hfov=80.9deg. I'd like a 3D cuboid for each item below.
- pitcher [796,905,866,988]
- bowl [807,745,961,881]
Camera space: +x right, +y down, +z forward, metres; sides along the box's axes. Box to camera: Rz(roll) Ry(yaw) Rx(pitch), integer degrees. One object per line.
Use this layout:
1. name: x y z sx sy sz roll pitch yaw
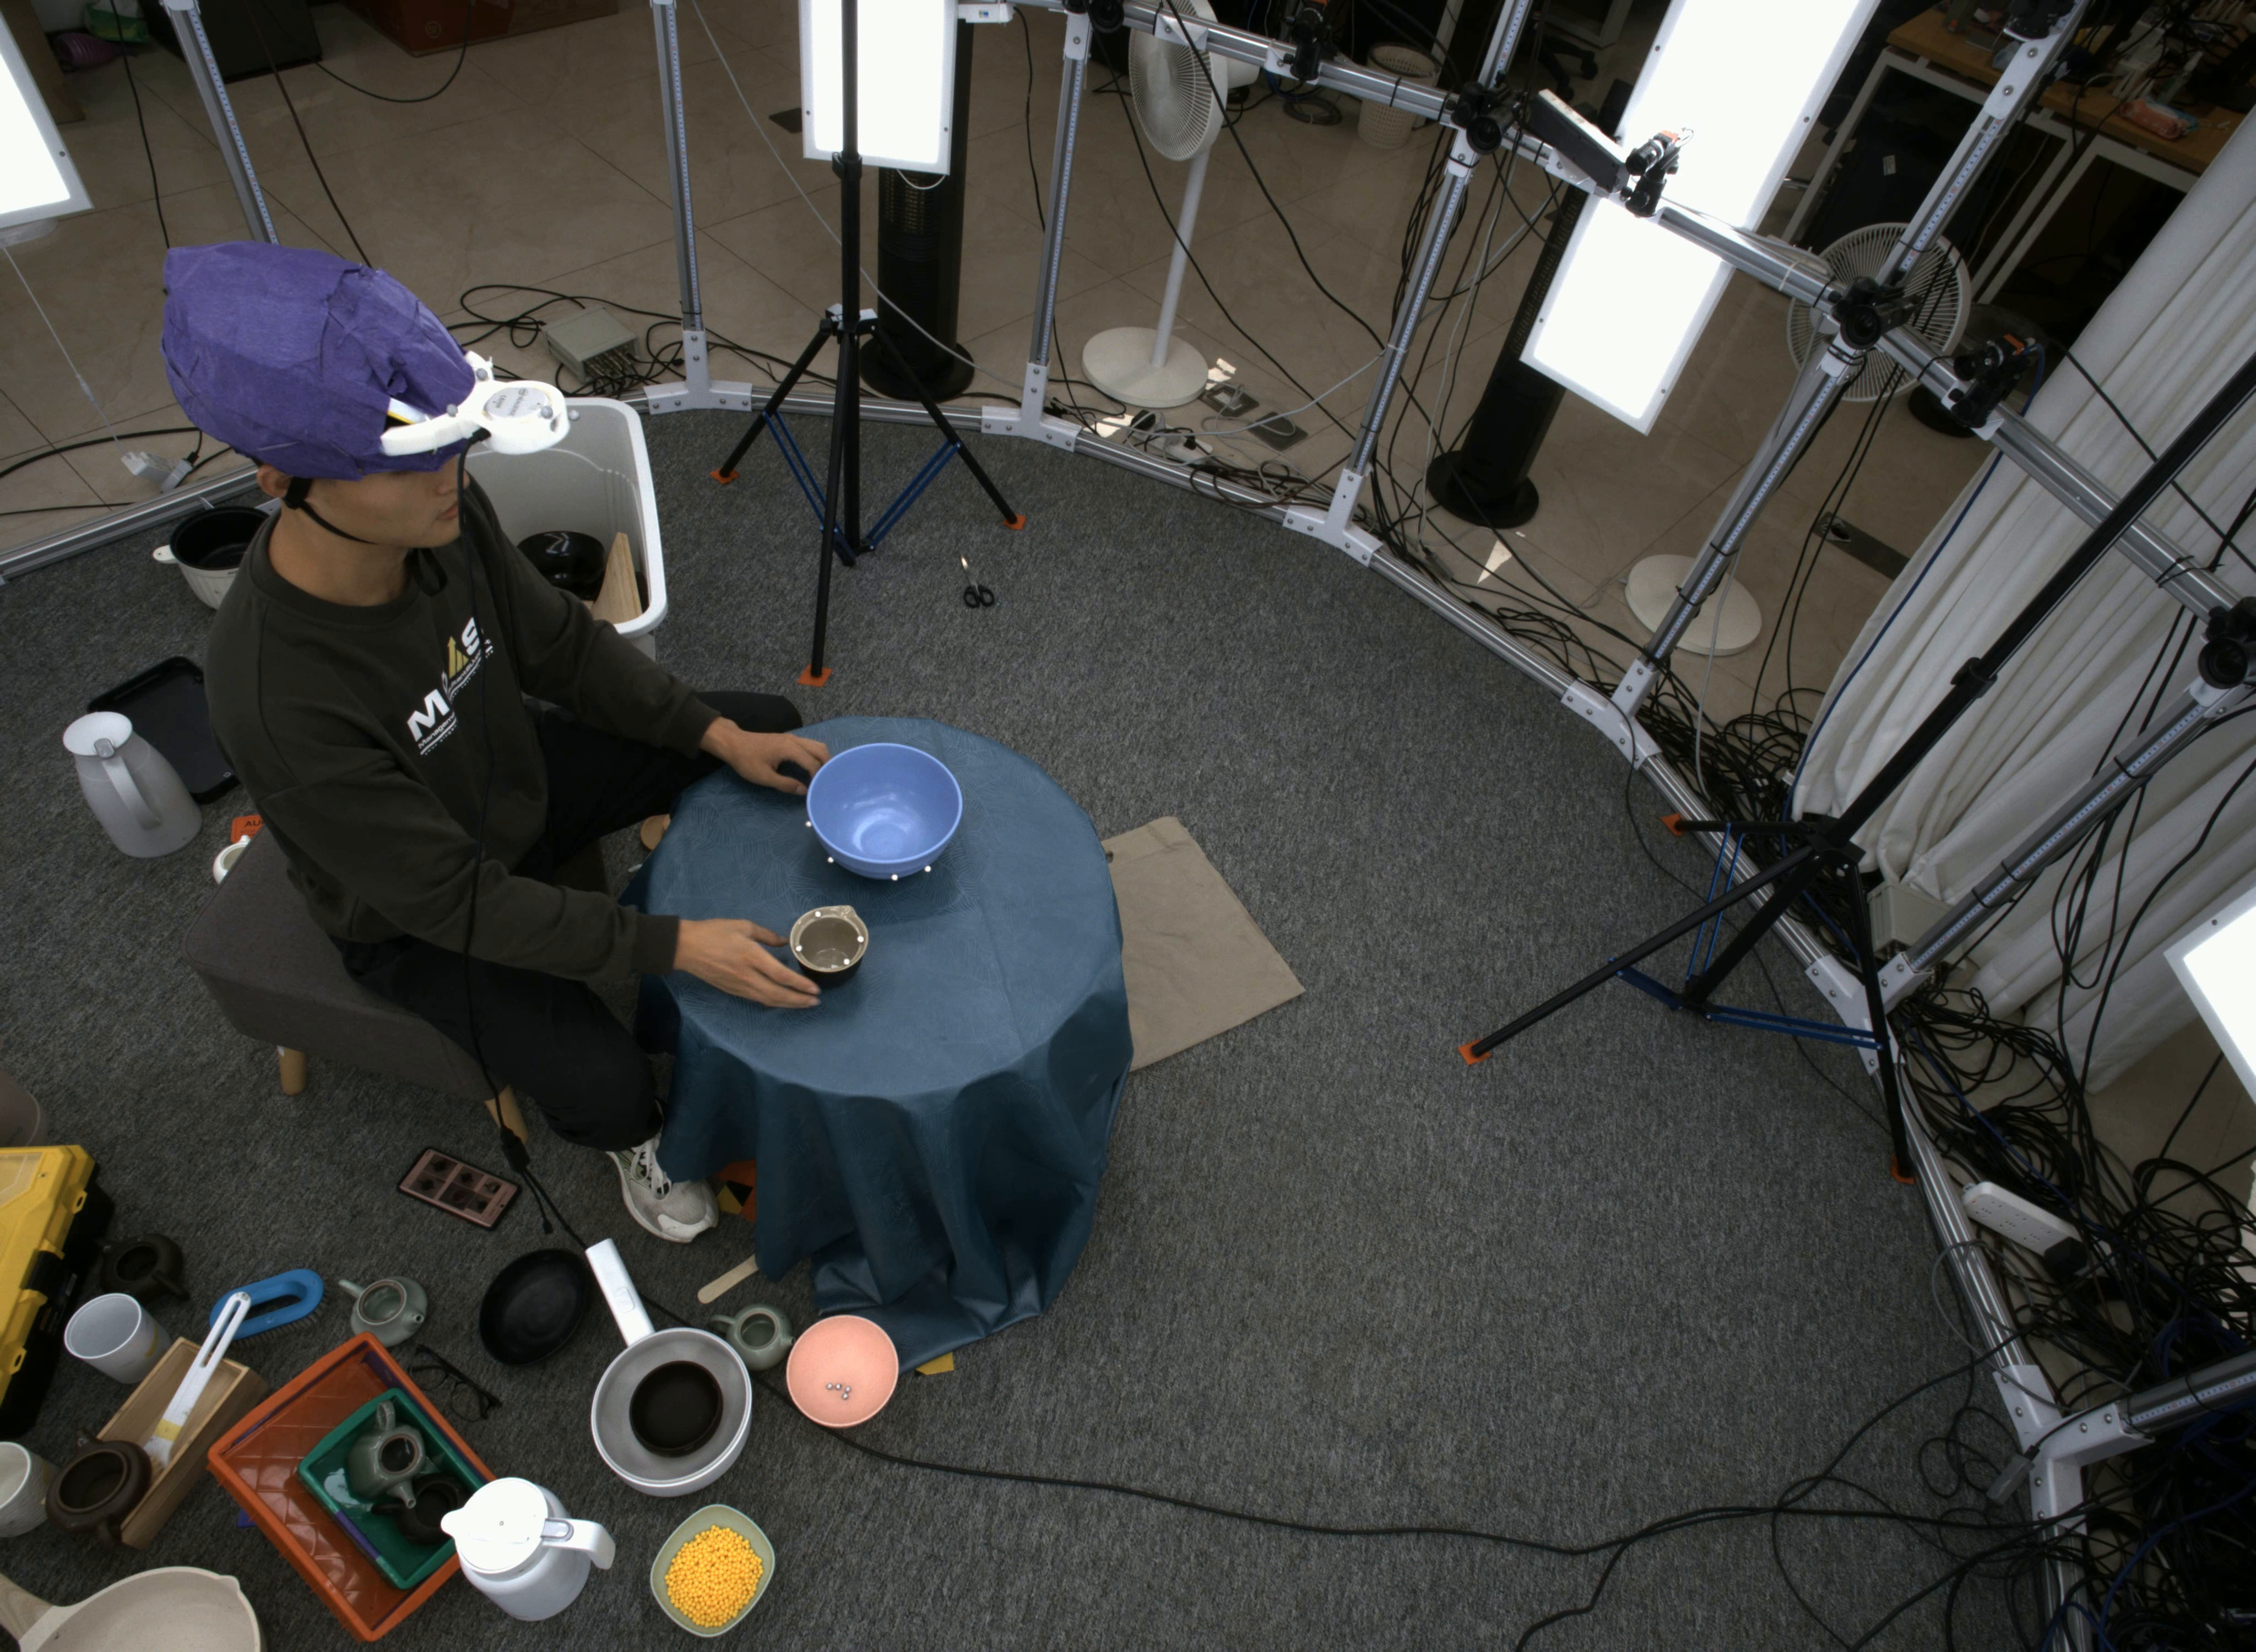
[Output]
1. pitcher: -0.361 0.152 1.591 0.082 0.073 0.095 19 52 5
2. bowl: -0.318 -0.003 1.704 0.195 0.097 0.193 6 52 -6
